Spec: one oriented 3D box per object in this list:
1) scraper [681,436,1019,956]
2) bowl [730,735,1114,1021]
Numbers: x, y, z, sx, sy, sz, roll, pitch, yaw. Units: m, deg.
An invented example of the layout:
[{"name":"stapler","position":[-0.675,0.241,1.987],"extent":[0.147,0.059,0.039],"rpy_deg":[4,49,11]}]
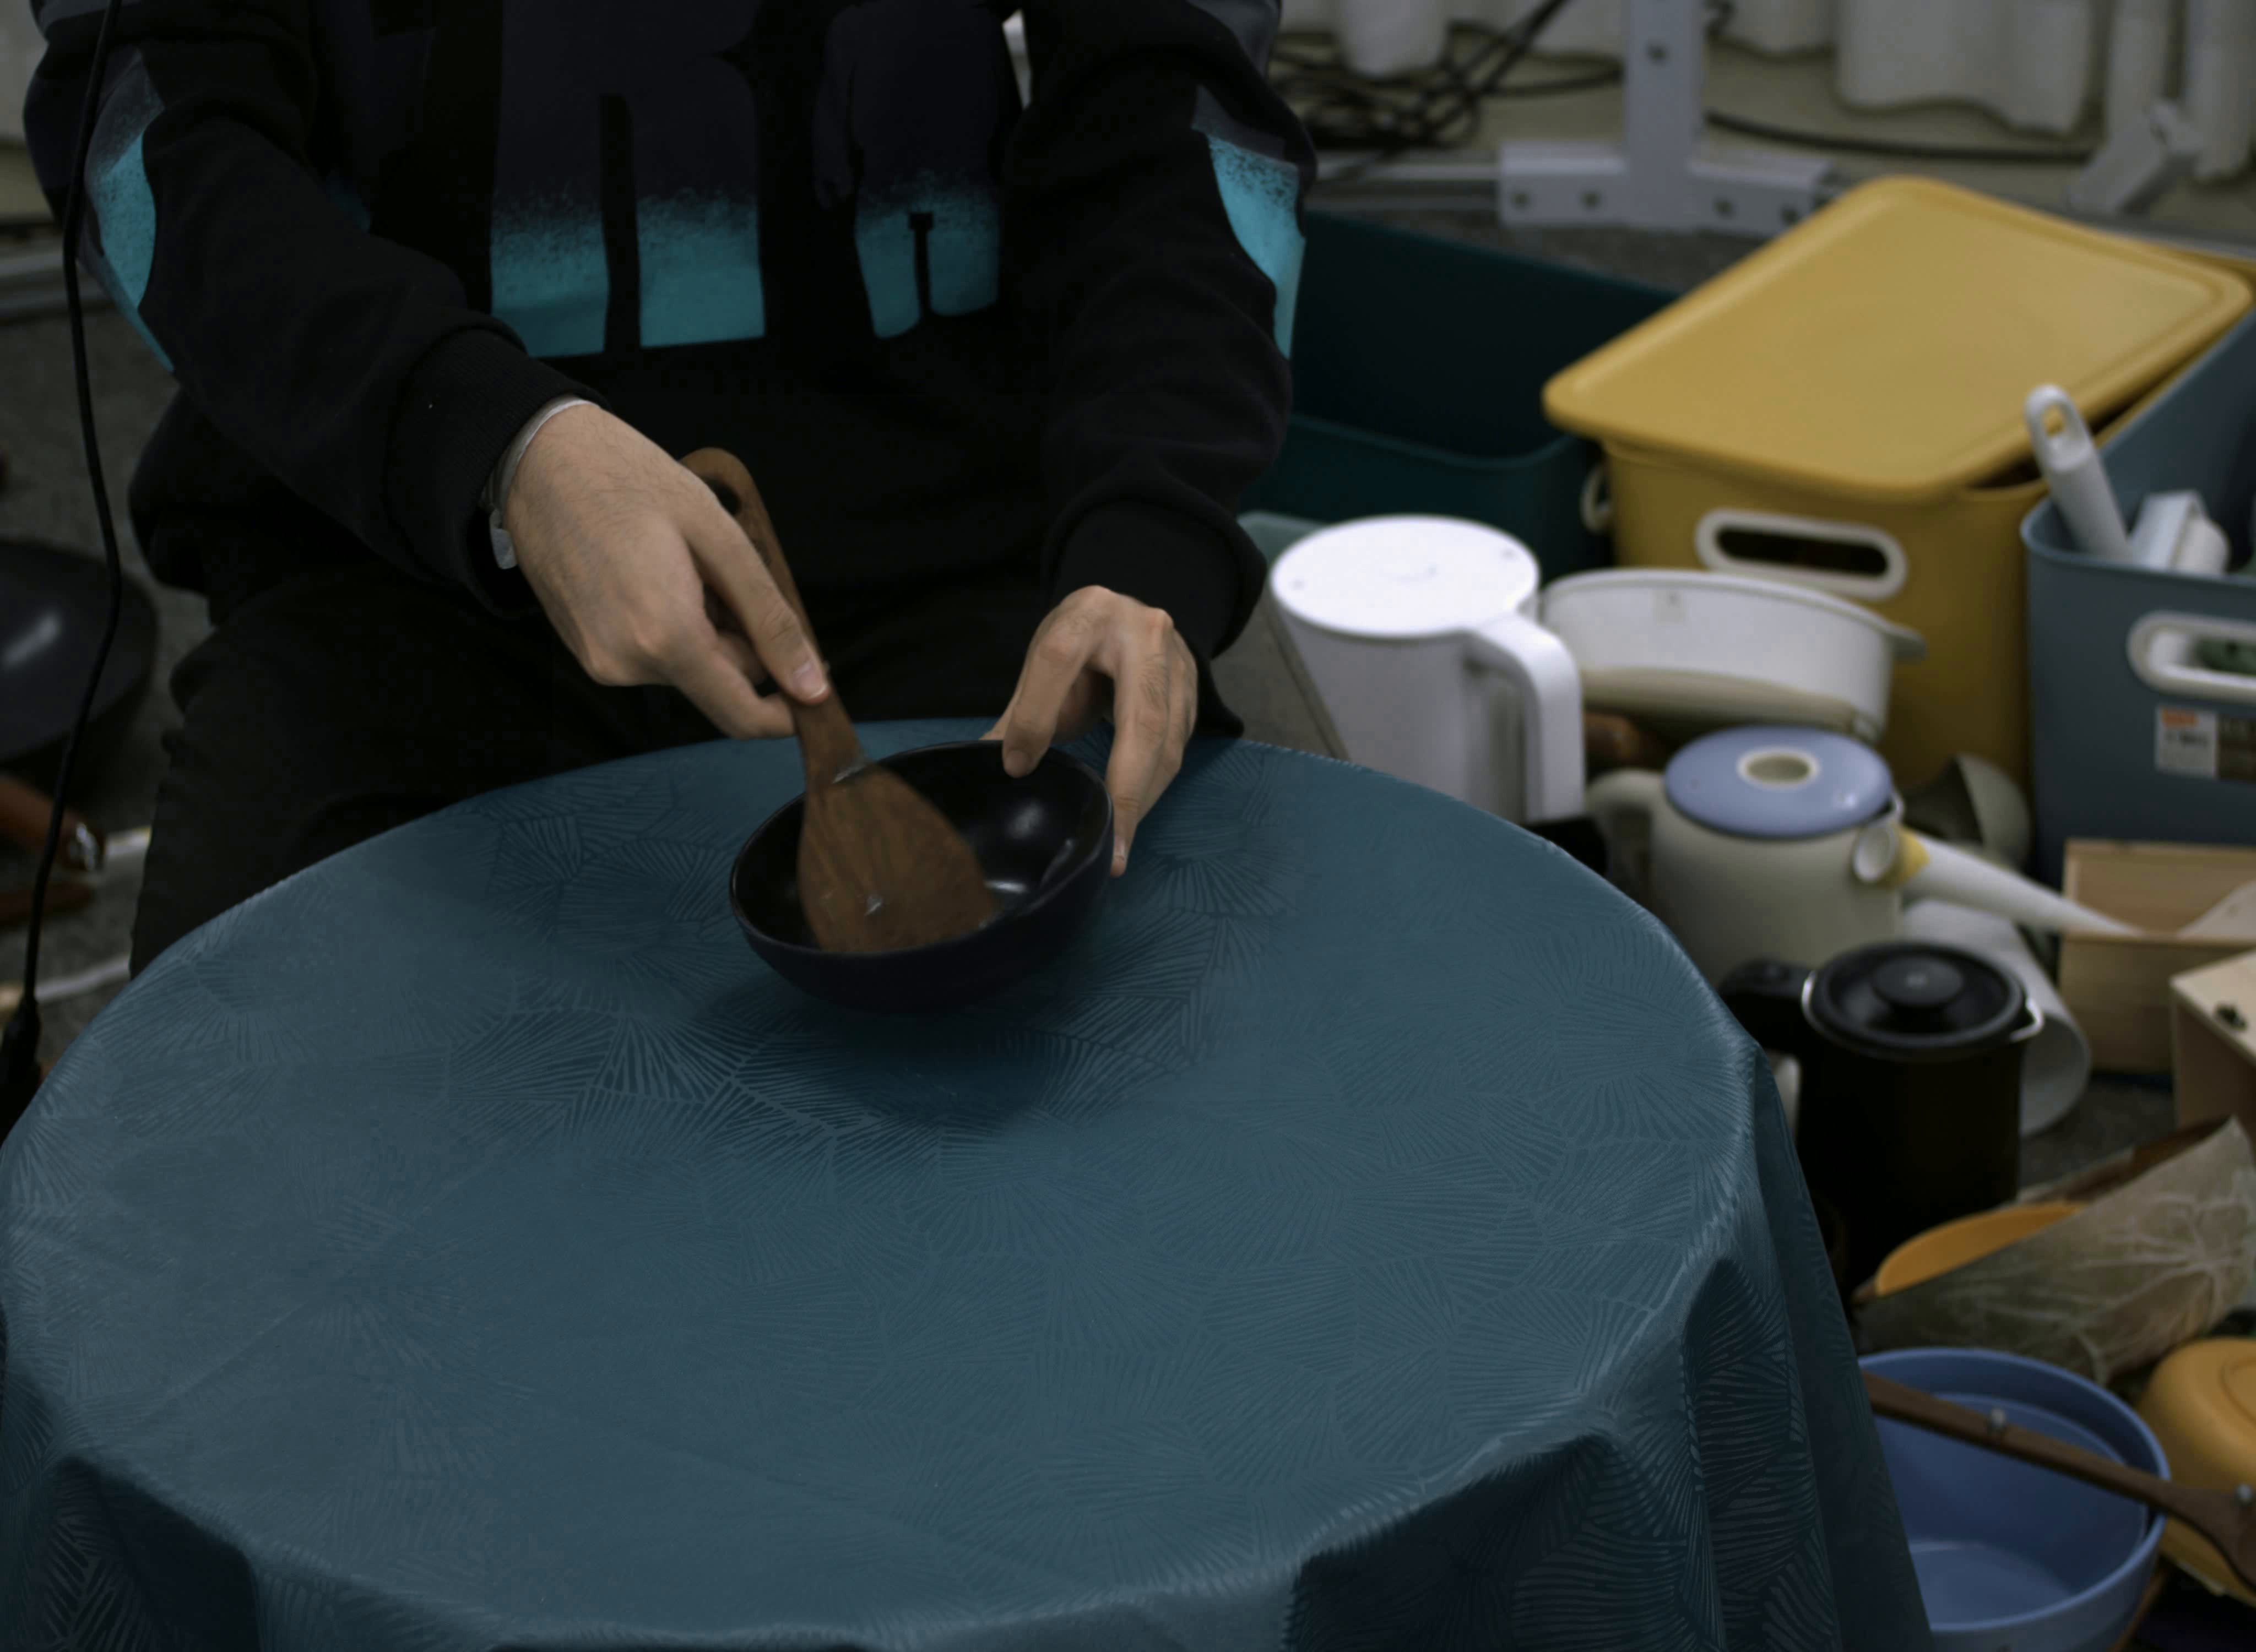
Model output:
[{"name":"scraper","position":[-0.105,-0.041,1.971],"extent":[0.076,0.213,0.010],"rpy_deg":[-19,-11,-34]},{"name":"bowl","position":[-0.066,0.027,1.965],"extent":[0.139,0.049,0.142],"rpy_deg":[-13,30,8]}]
